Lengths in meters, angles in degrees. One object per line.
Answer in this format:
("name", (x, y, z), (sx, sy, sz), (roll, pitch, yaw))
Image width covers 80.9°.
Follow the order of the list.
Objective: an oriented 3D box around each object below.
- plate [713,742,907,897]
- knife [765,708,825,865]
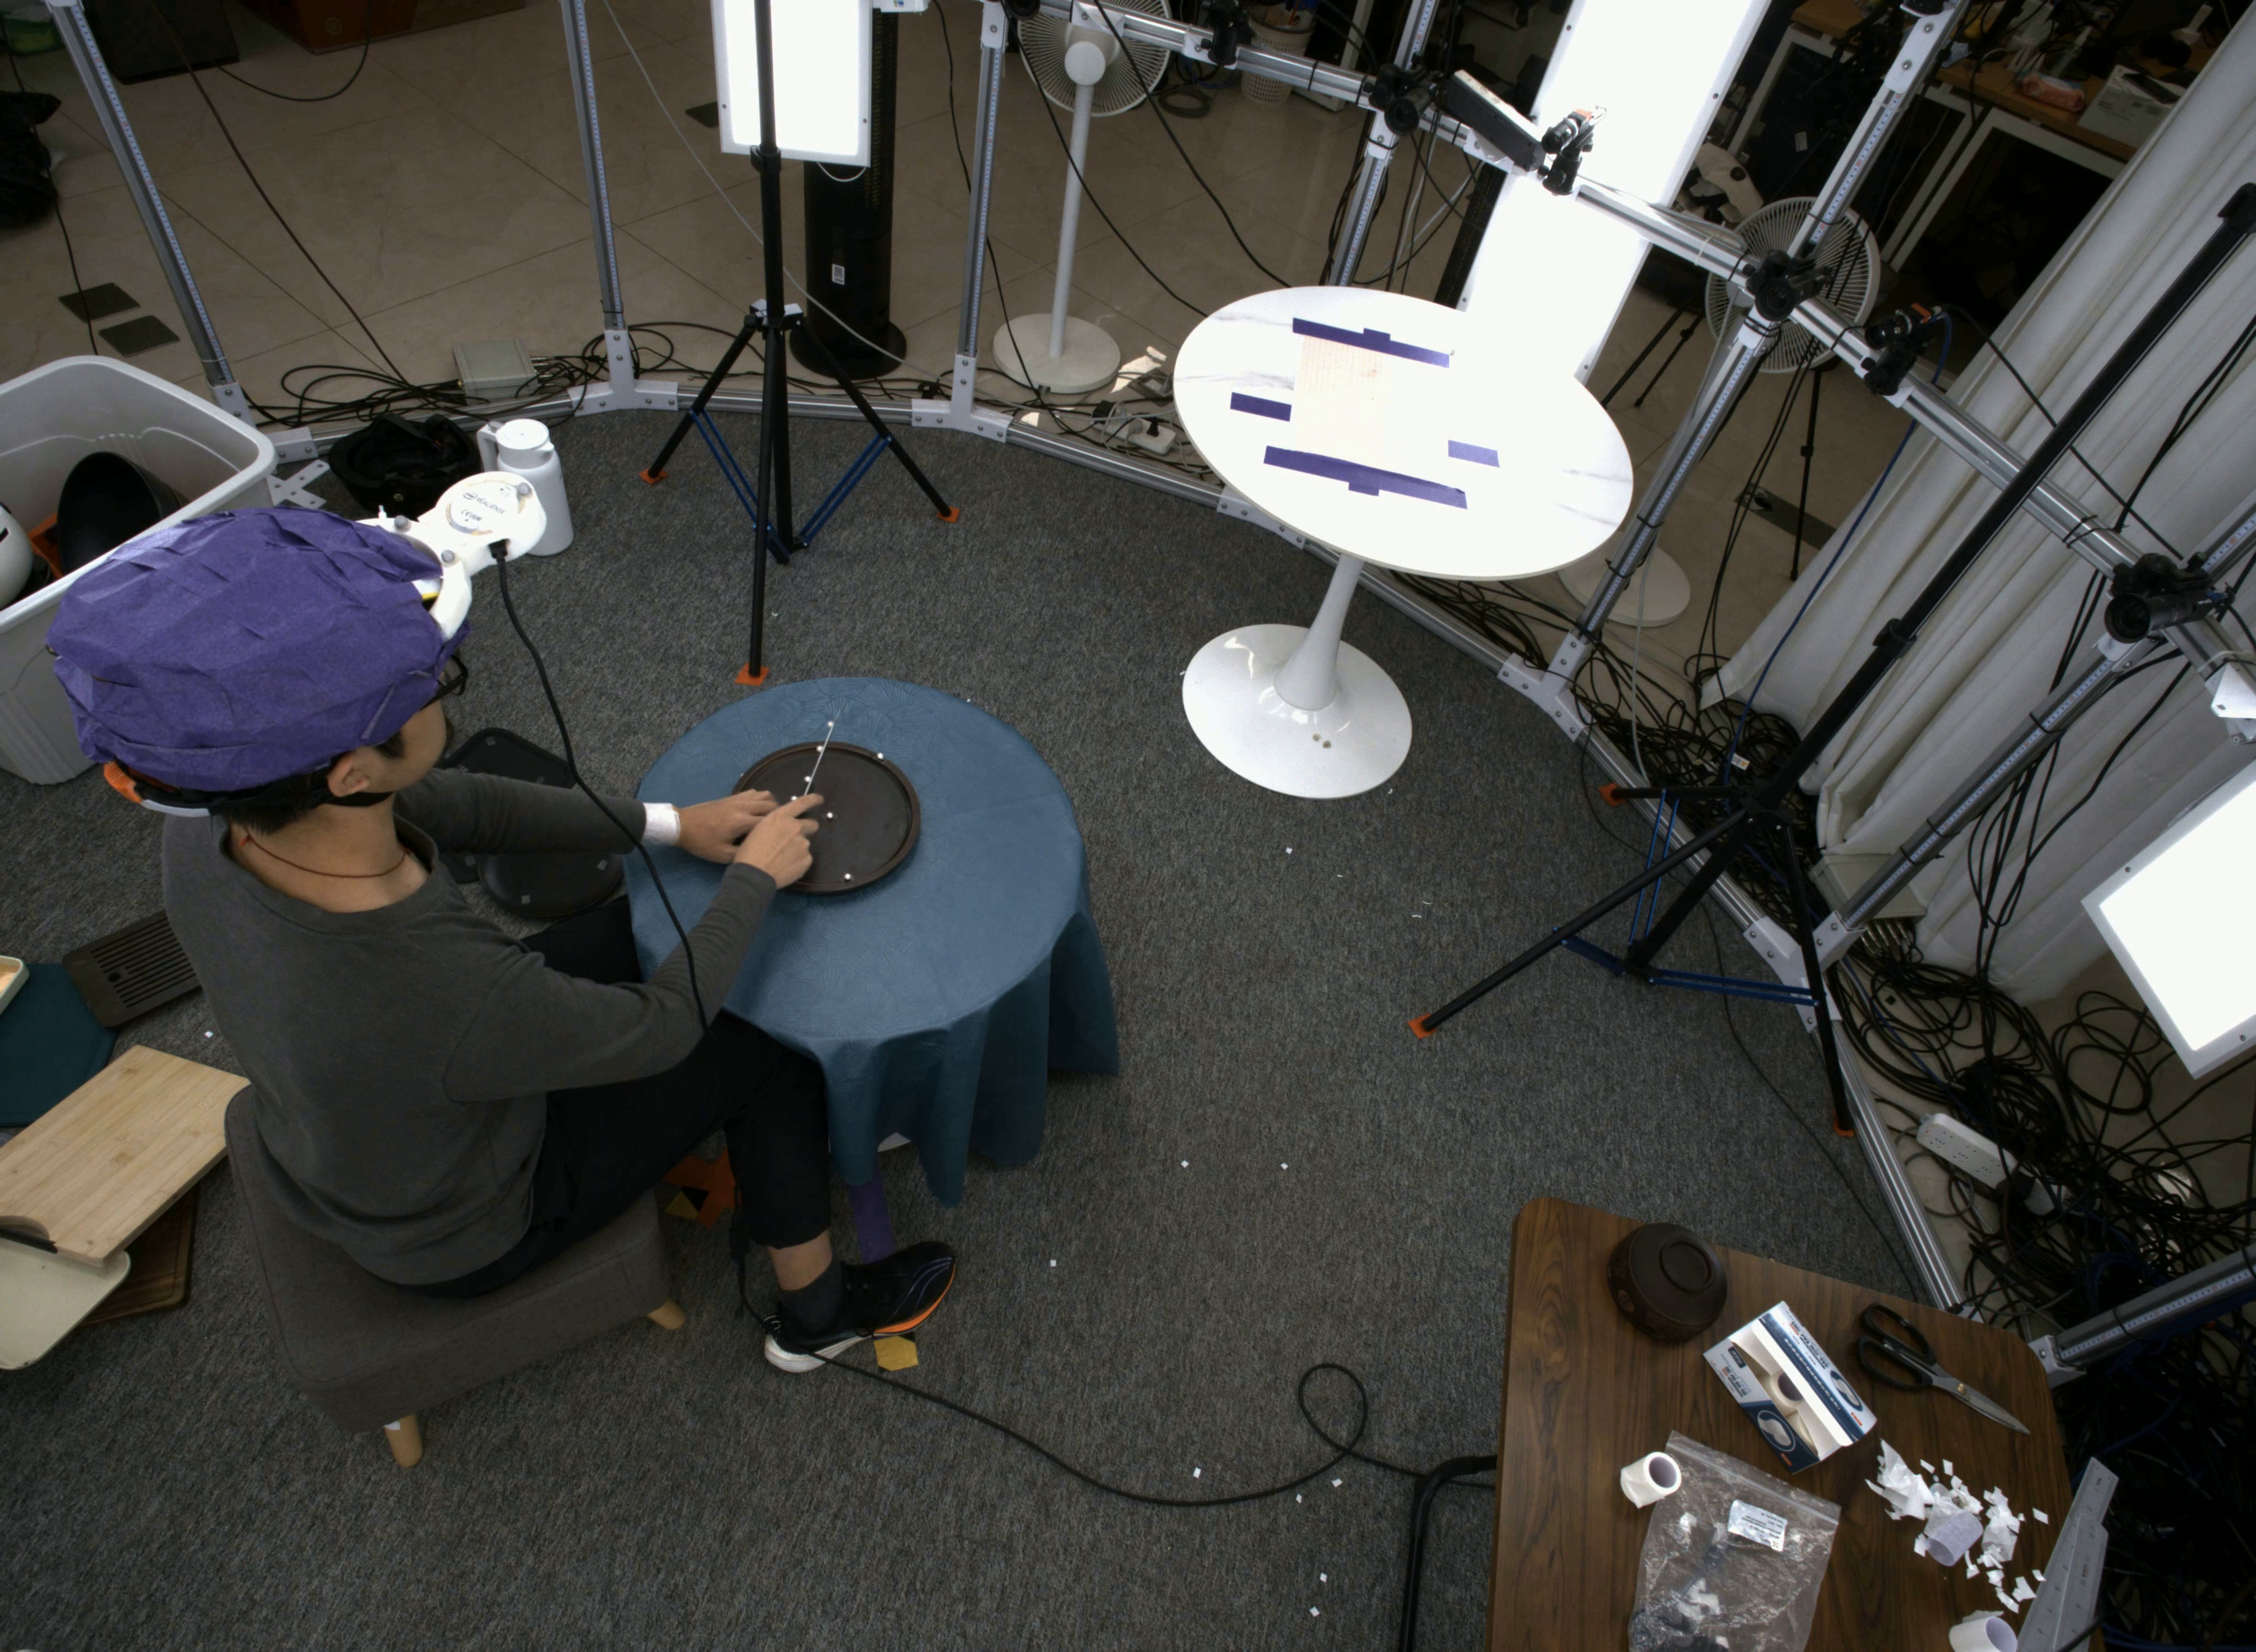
("plate", (-0.422, -0.010, 1.729), (0.254, 0.029, 0.250), (8, 51, -9))
("knife", (-0.422, -0.058, 1.654), (0.016, 0.025, 0.236), (14, 60, -4))
